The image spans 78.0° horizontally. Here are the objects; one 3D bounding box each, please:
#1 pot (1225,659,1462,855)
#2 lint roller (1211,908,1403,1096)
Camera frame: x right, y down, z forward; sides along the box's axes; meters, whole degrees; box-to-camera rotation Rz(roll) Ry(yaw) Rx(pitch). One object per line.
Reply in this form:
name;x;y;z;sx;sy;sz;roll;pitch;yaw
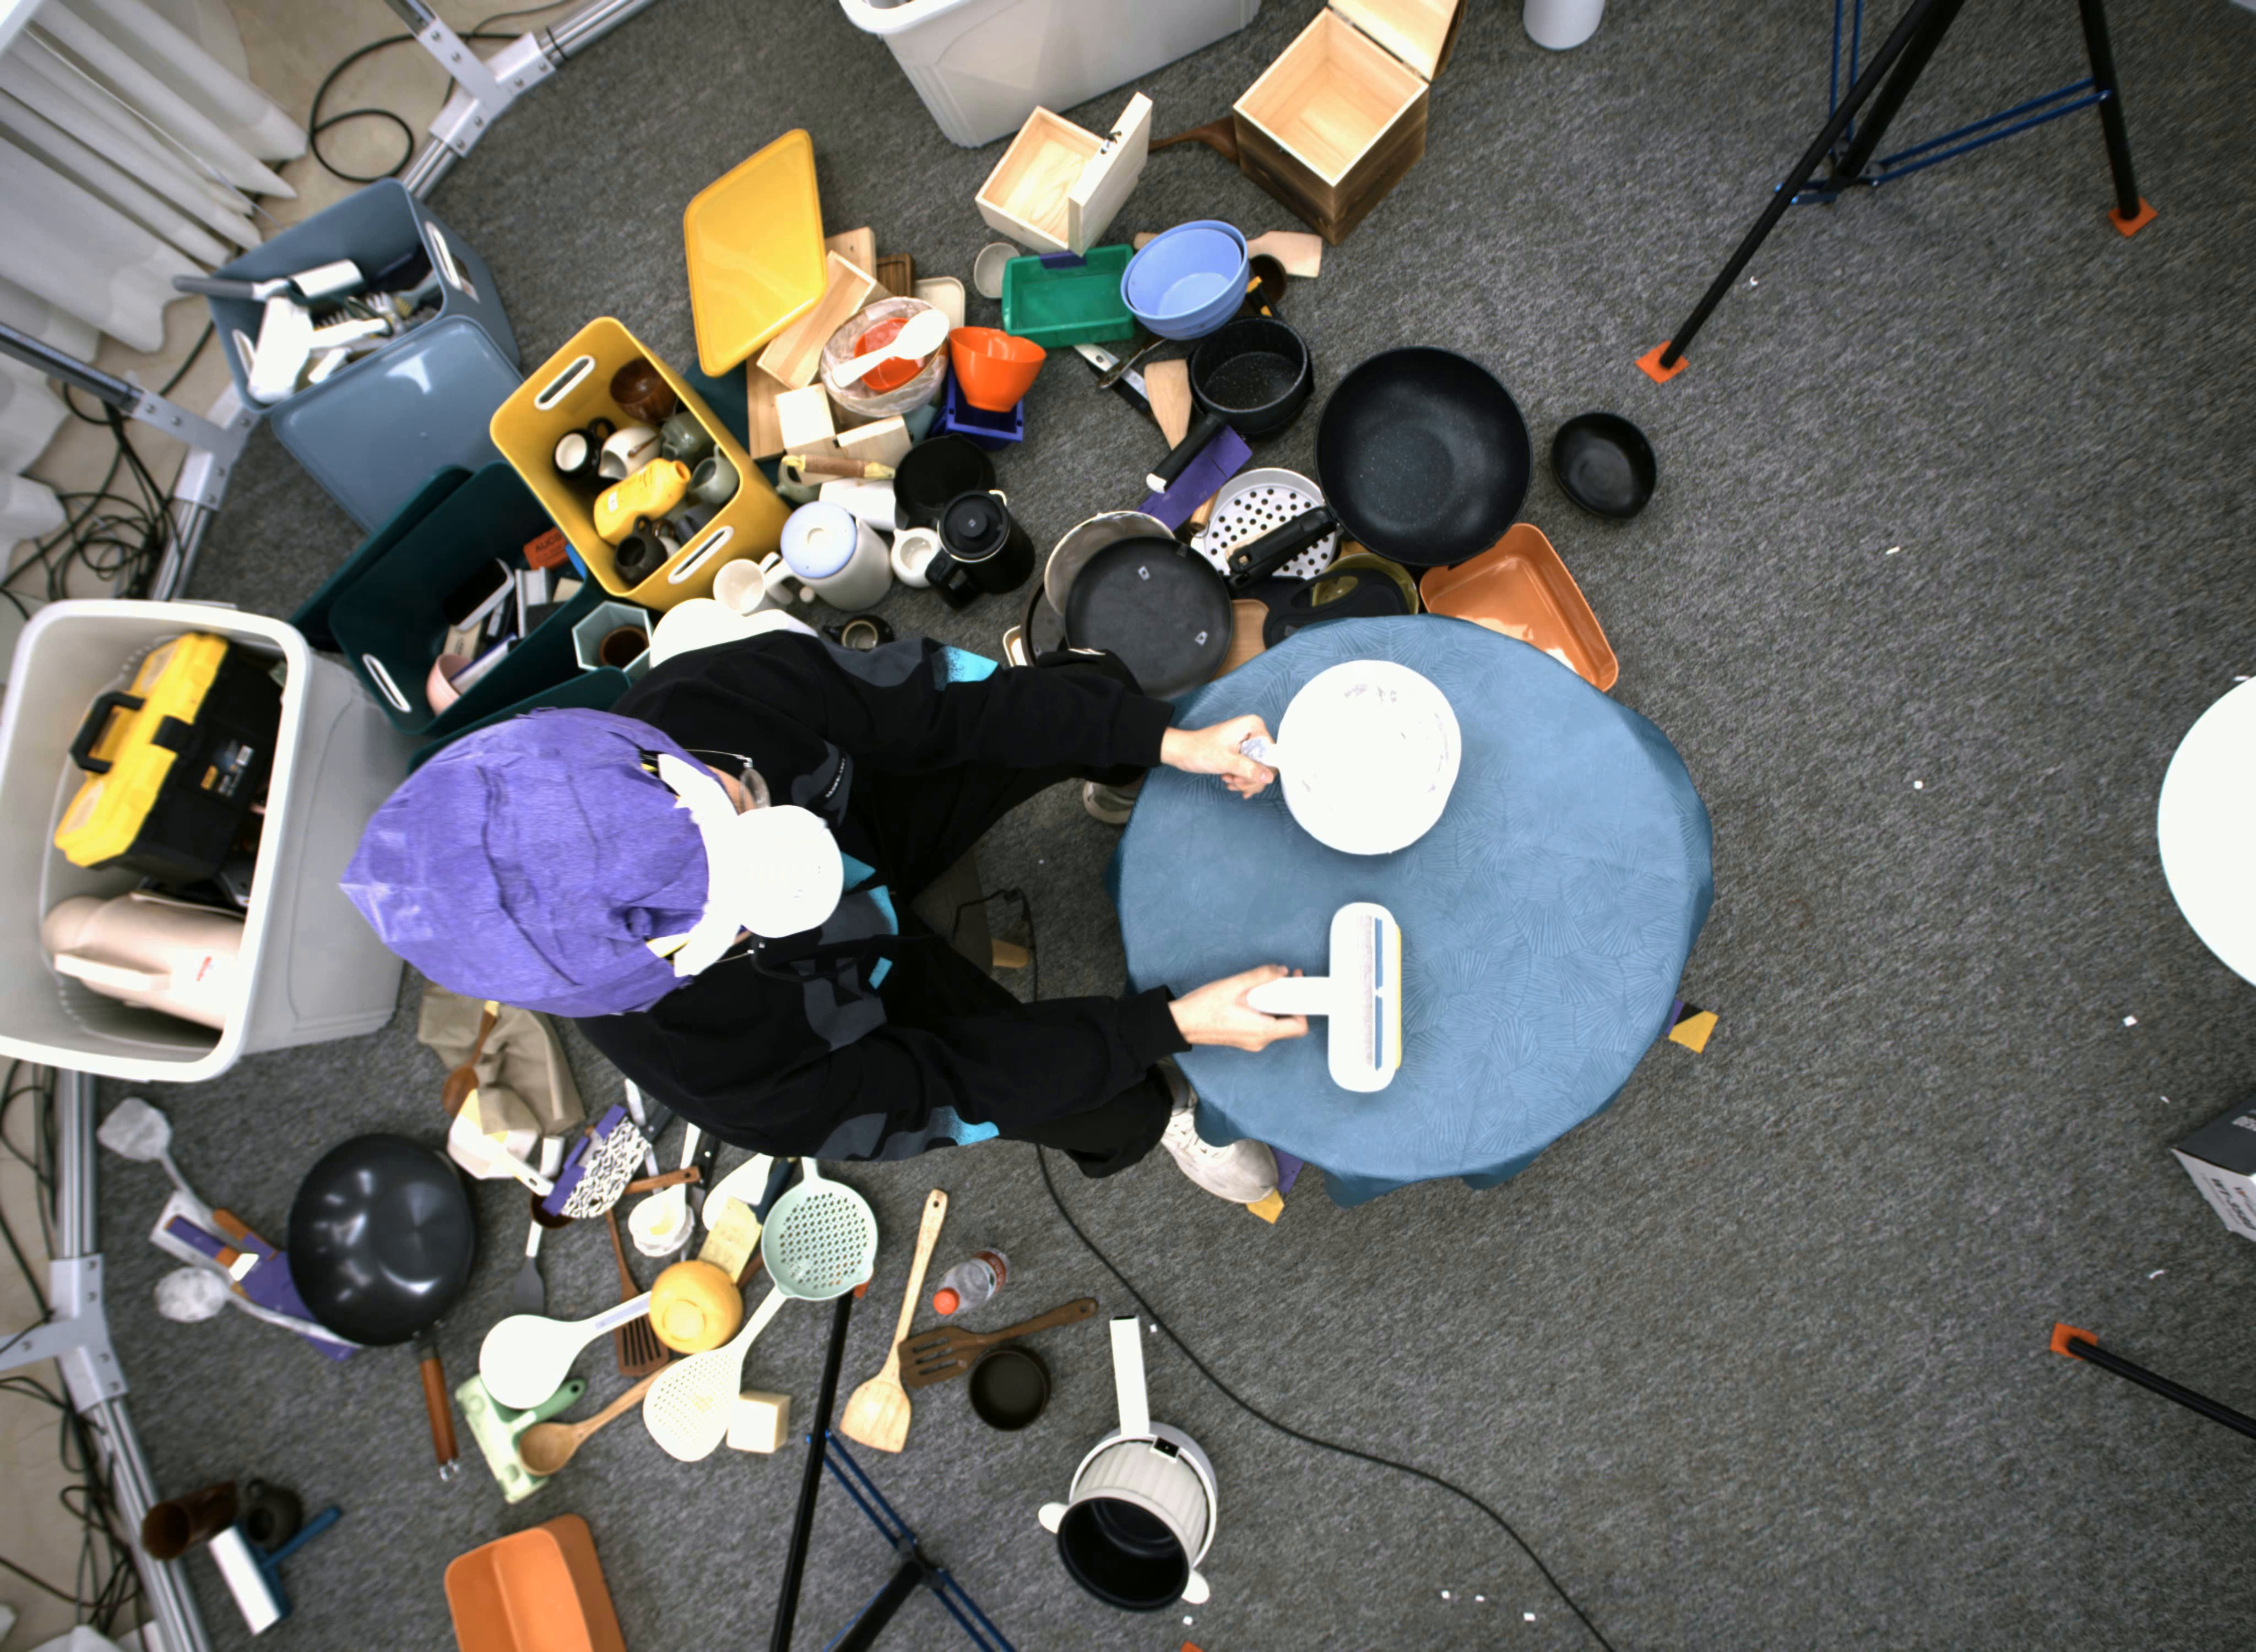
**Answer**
pot;0.213;-0.065;1.397;0.234;0.137;0.177;0;80;8
lint roller;0.180;0.174;1.422;0.193;0.075;0.190;5;78;6
